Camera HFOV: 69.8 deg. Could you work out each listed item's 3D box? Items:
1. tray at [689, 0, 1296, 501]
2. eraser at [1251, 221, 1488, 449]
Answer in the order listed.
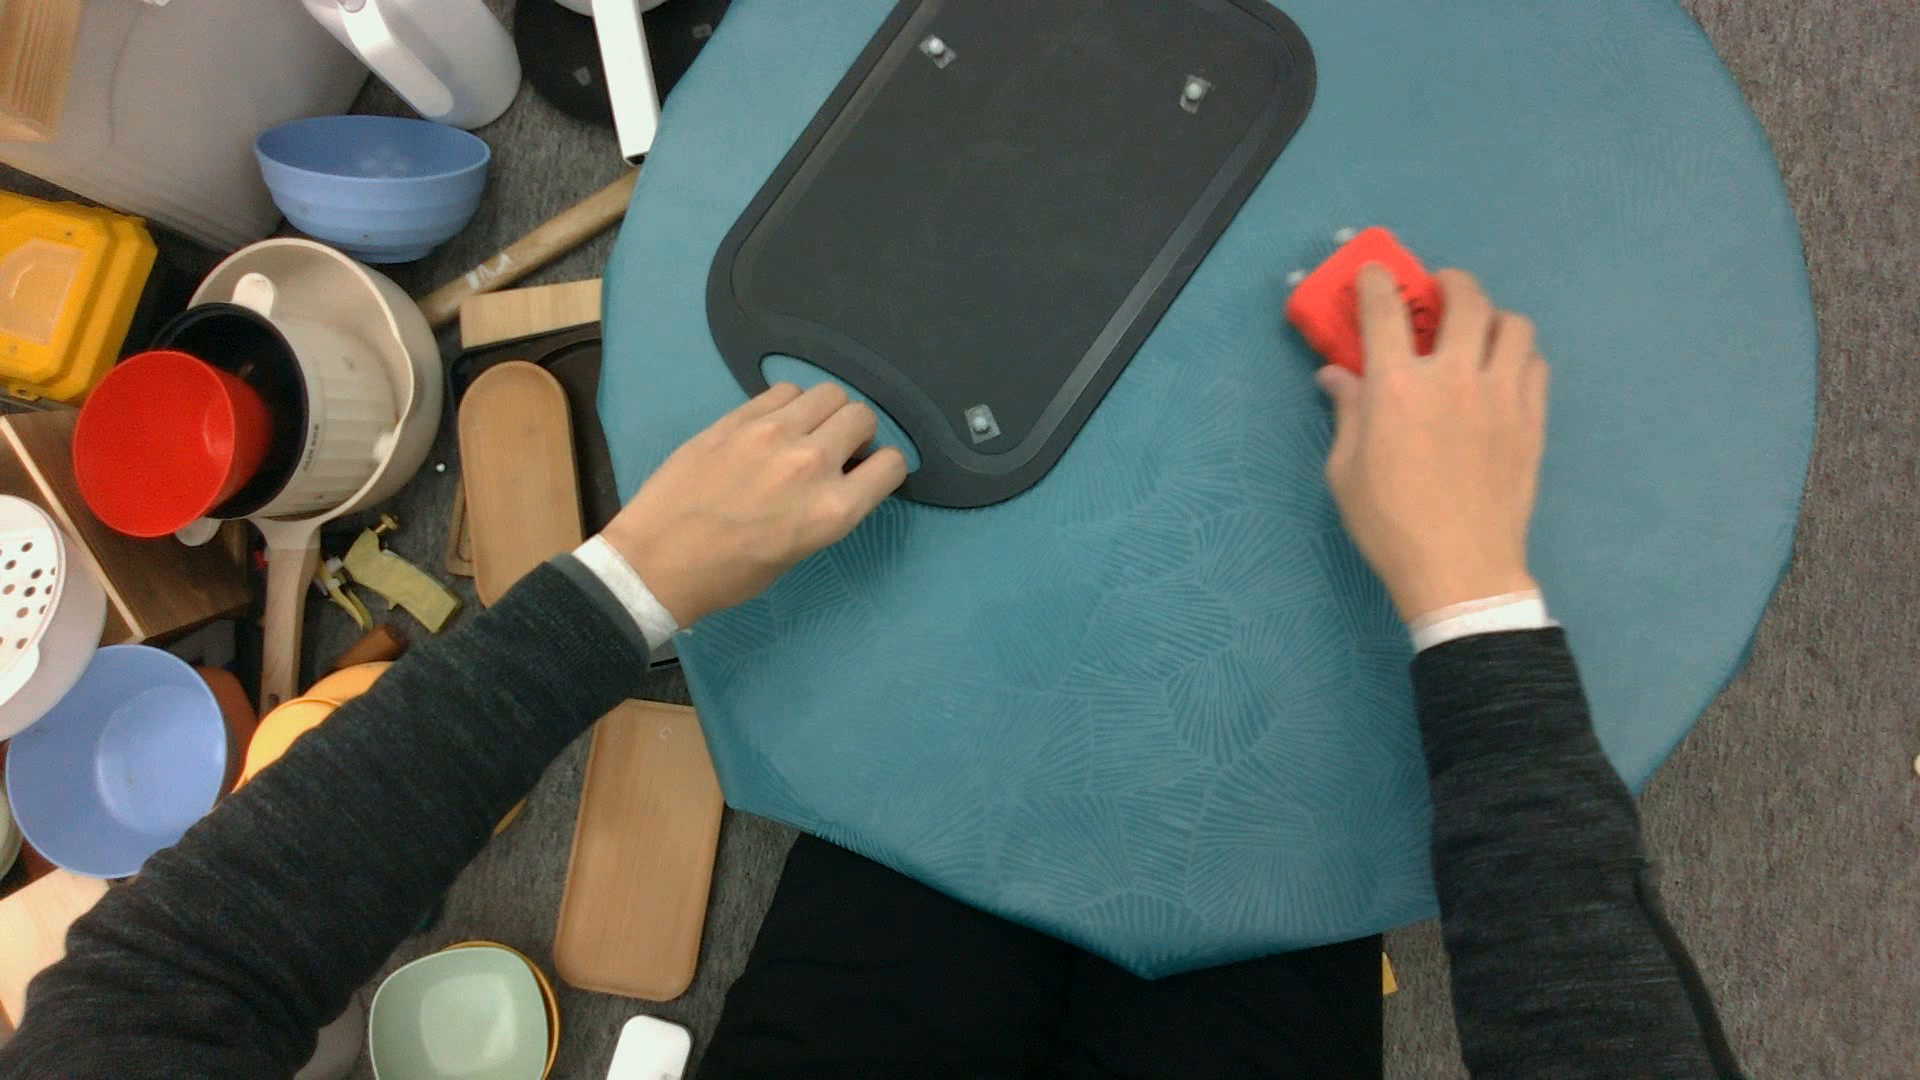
[{"bbox_3d":[0.012,-0.179,0.703,0.211,0.010,0.325,36,85,8],"label":"tray"},{"bbox_3d":[0.196,-0.099,0.662,0.059,0.023,0.108,-45,87,-6],"label":"eraser"}]
